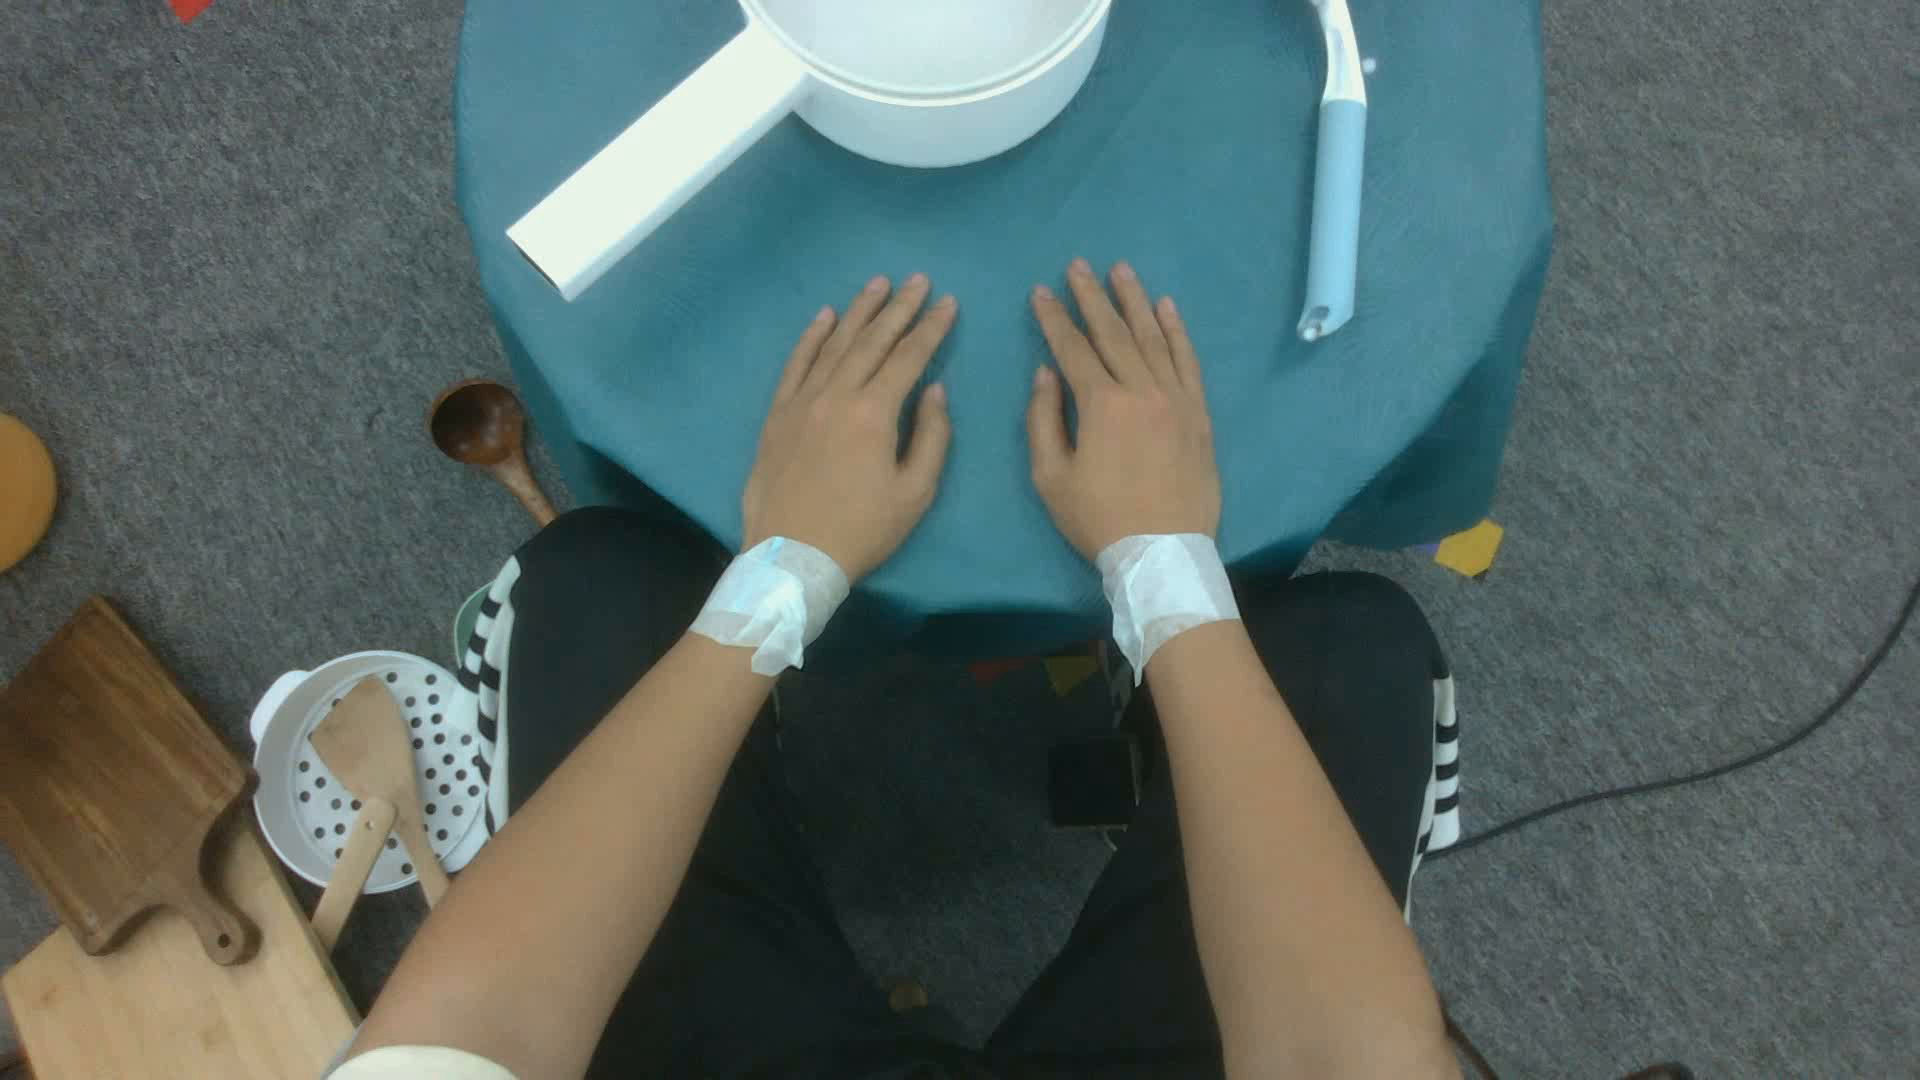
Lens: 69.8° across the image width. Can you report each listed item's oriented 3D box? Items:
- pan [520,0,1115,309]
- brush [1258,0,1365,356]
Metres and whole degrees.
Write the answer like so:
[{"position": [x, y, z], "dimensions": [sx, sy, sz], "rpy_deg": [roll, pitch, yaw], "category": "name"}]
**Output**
[{"position": [-0.070, -0.241, 0.718], "dimensions": [0.355, 0.102, 0.201], "rpy_deg": [-44, 82, -8], "category": "pan"}, {"position": [0.187, -0.260, 0.732], "dimensions": [0.084, 0.083, 0.326], "rpy_deg": [8, 78, -6], "category": "brush"}]
